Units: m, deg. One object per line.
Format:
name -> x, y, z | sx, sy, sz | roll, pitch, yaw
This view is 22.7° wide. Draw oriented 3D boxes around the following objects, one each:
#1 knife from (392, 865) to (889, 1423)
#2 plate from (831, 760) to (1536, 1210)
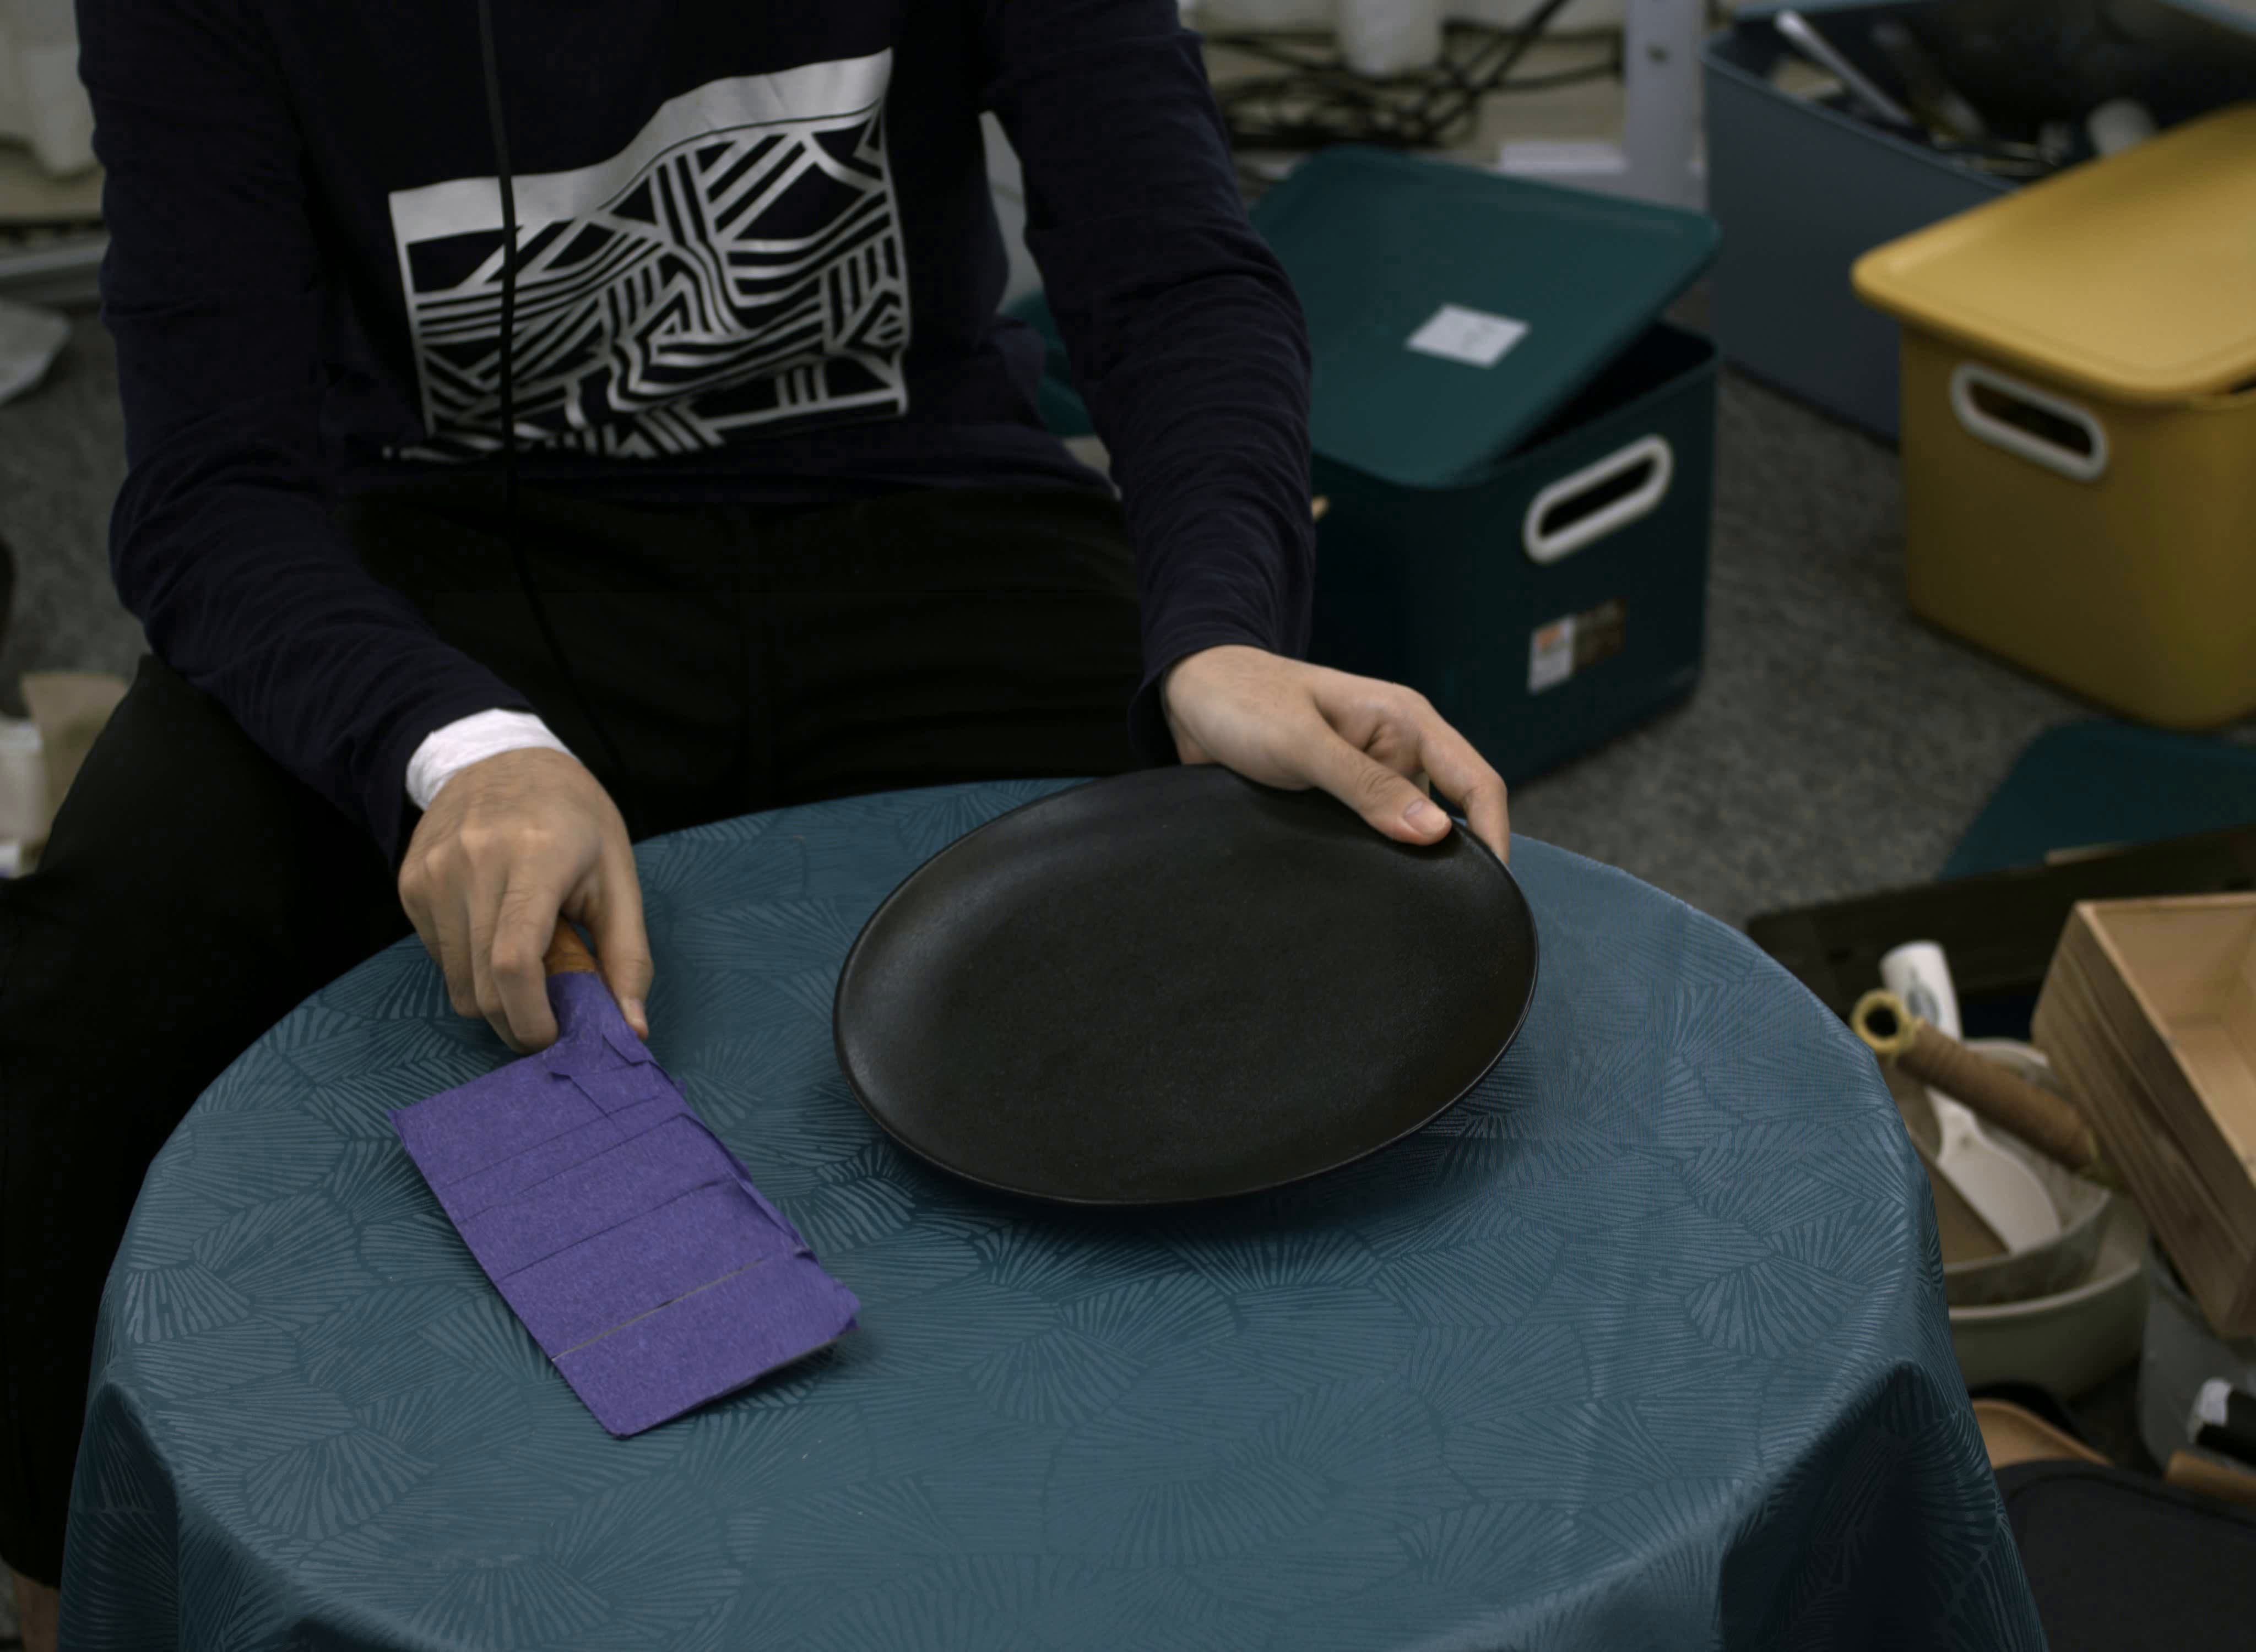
knife -> -0.190, 0.102, 1.873 | 0.104, 0.032, 0.317 | -23, 33, -18
plate -> 0.019, 0.057, 1.923 | 0.243, 0.023, 0.249 | -5, 36, 4
